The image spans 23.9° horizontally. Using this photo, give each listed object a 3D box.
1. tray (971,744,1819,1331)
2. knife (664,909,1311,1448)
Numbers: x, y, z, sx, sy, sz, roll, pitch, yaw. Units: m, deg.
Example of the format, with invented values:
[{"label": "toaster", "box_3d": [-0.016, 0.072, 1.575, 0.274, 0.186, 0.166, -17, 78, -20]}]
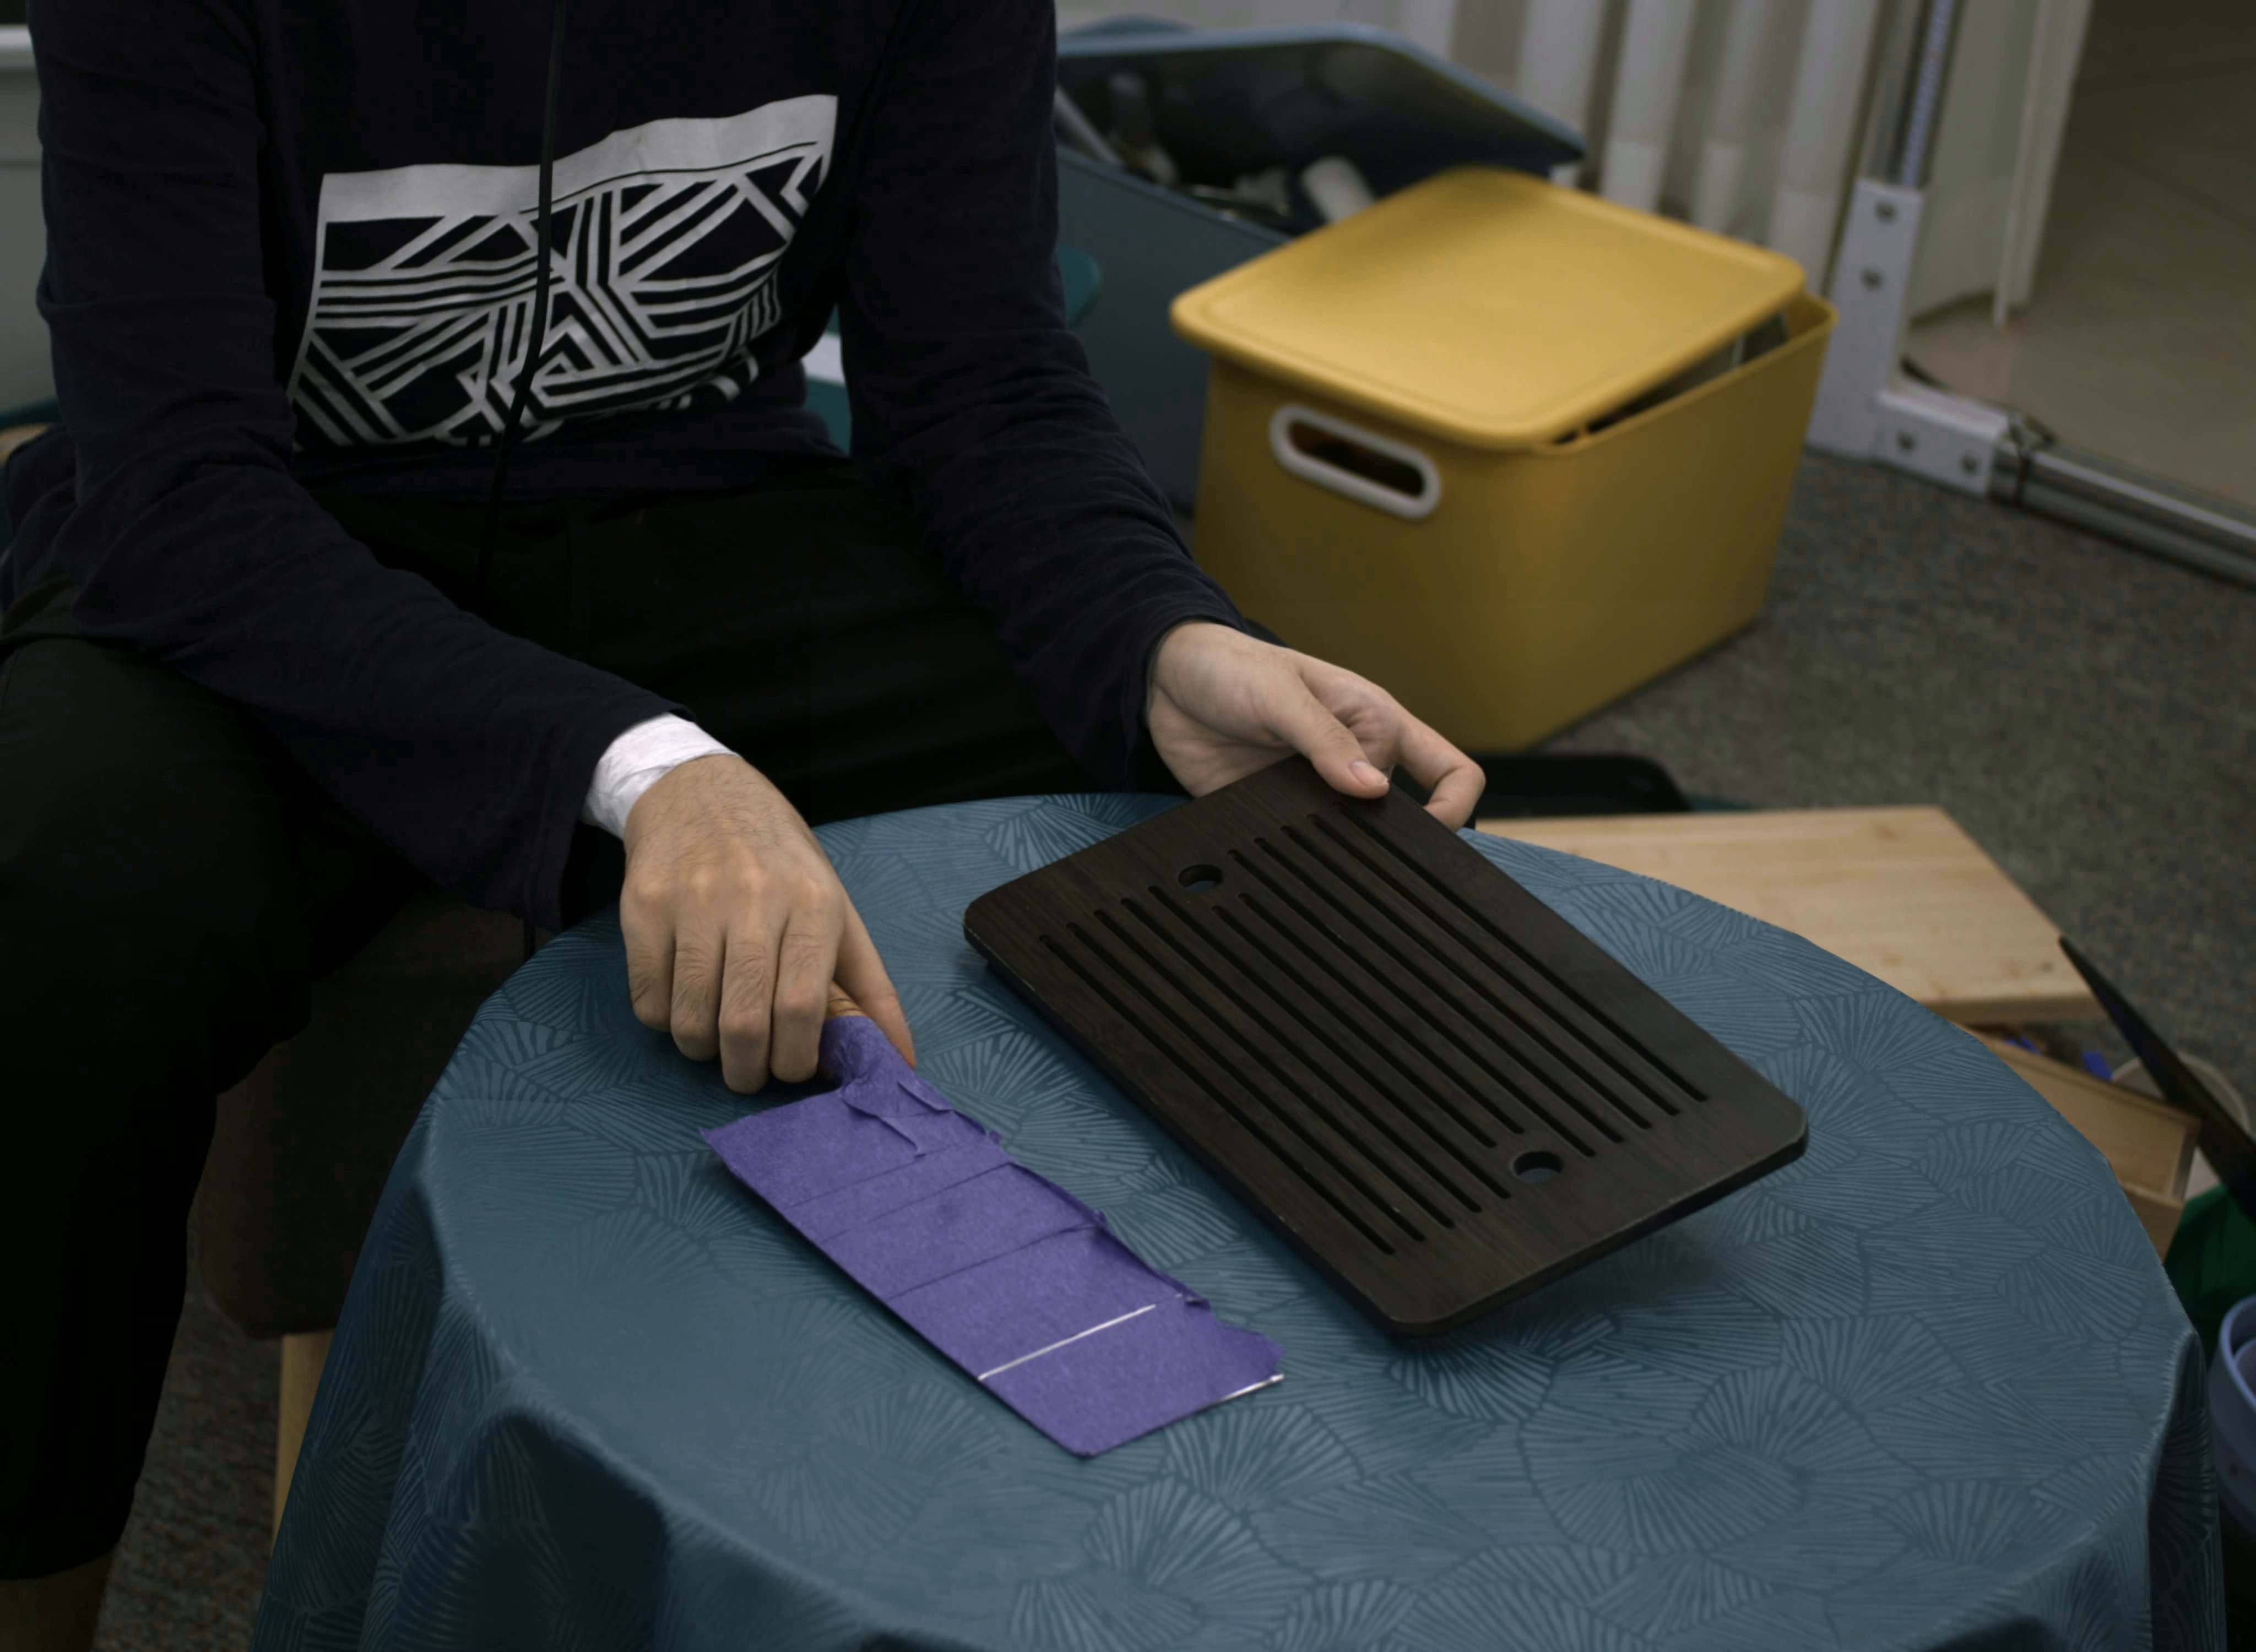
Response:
[{"label": "tray", "box_3d": [0.088, 0.070, 1.865, 0.169, 0.018, 0.309, -24, 37, -21]}, {"label": "knife", "box_3d": [-0.077, 0.114, 1.779, 0.103, 0.032, 0.318, -16, 35, -38]}]
